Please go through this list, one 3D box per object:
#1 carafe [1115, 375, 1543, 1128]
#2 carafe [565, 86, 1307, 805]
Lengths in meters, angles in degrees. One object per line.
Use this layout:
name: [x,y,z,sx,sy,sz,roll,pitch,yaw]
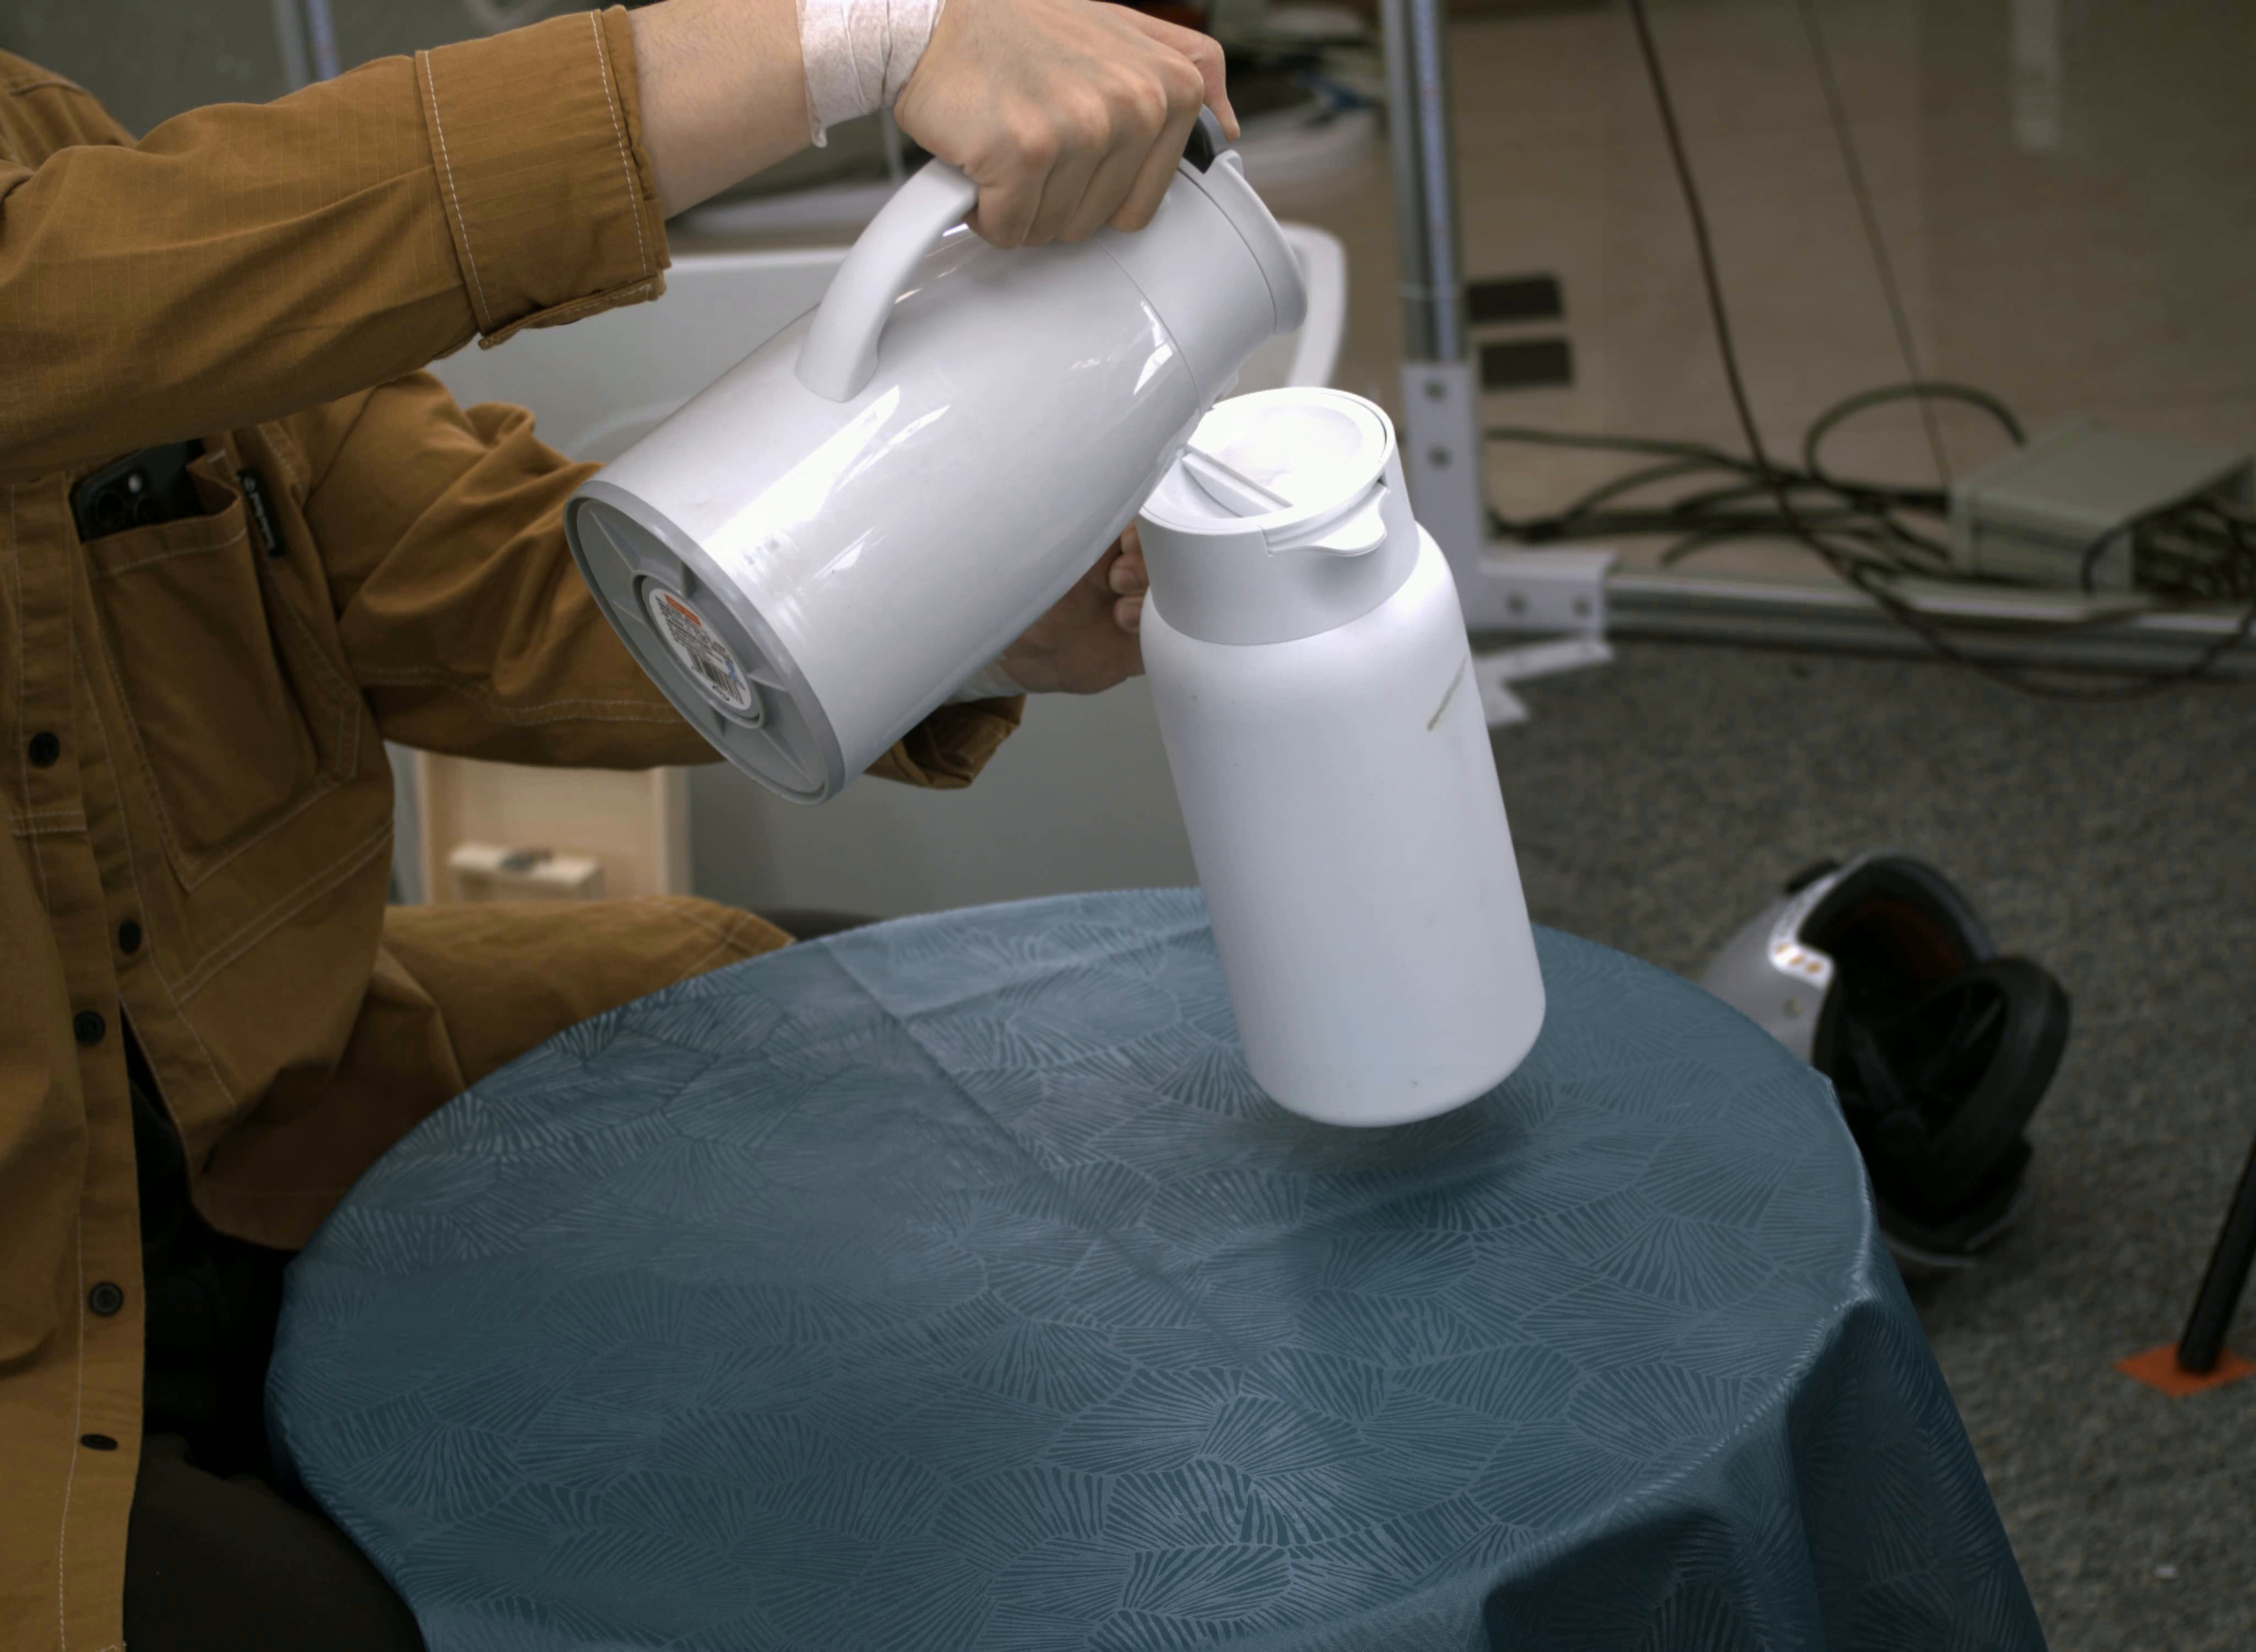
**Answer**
carafe: [0.064,-0.030,2.097,0.123,0.274,0.171,-32,38,-20]
carafe: [-0.057,-0.145,1.887,0.247,0.171,0.131,-41,55,-16]
